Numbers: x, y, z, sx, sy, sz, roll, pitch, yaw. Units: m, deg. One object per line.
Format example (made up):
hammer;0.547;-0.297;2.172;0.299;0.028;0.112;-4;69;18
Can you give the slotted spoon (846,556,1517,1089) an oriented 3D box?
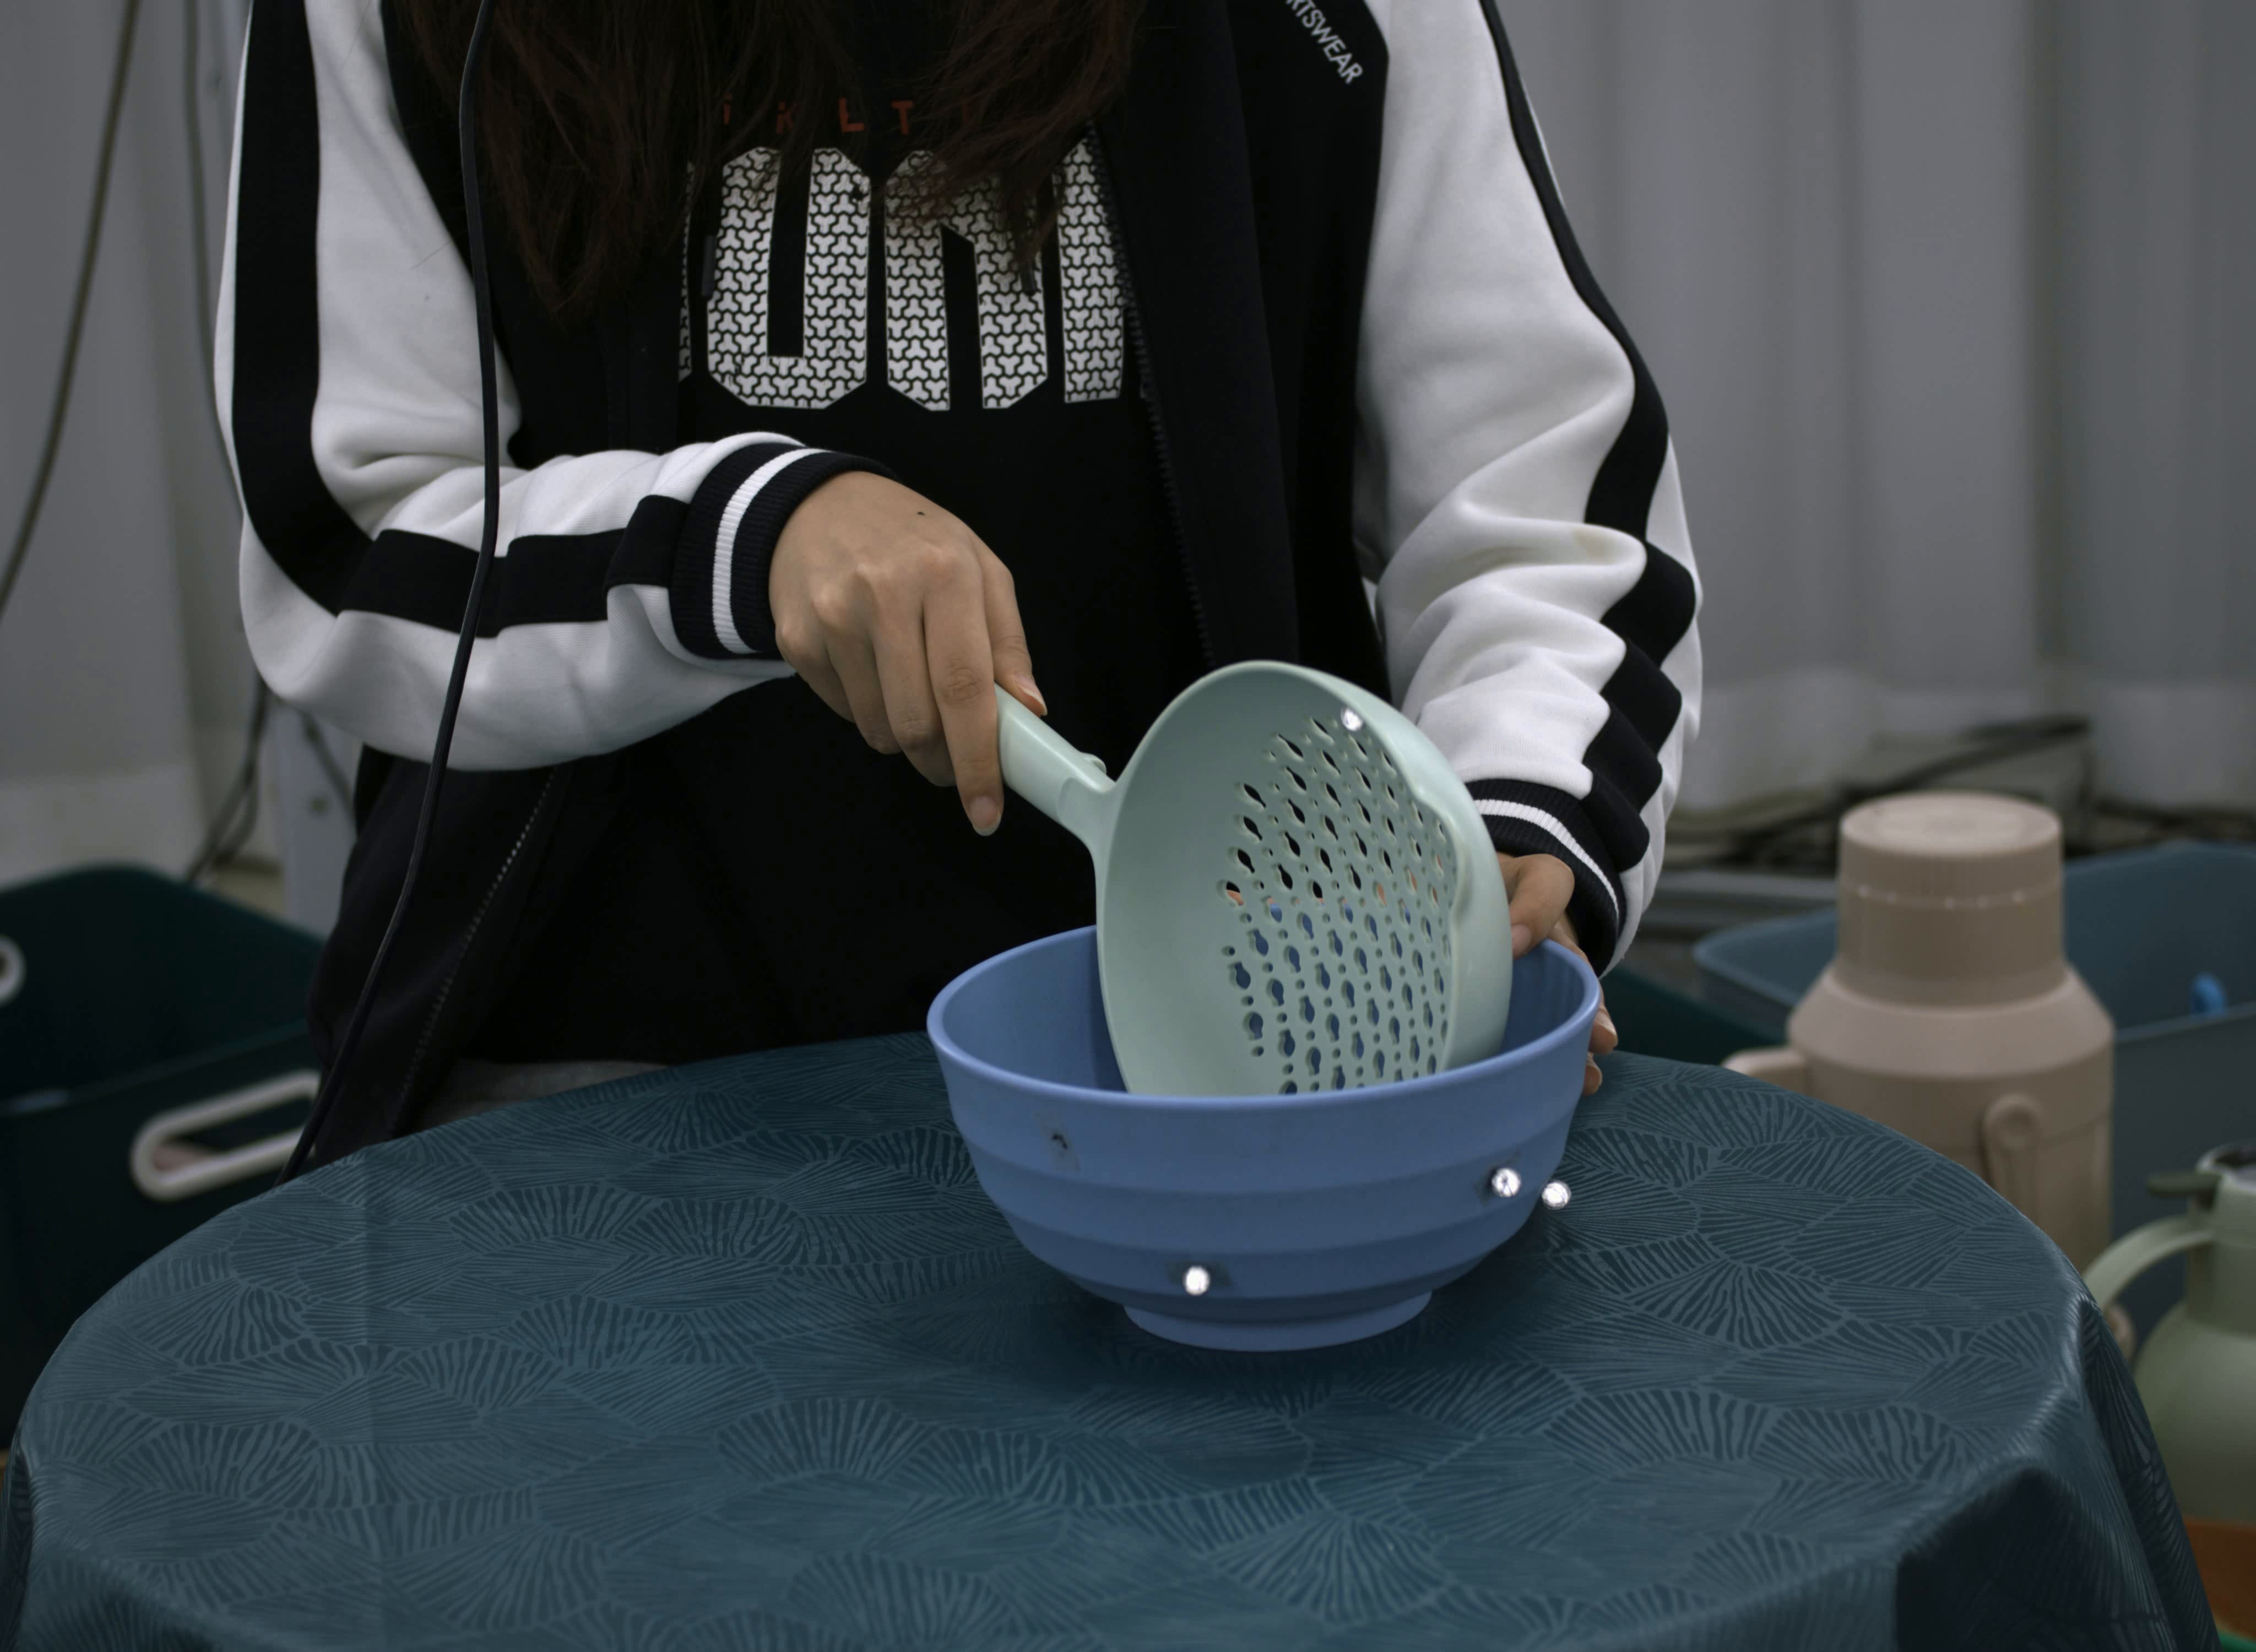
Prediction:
slotted spoon;-0.001;-0.007;1.675;0.075;0.168;0.362;-5;27;-43

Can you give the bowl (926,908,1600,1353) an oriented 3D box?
bowl;0.041;0.094;1.600;0.196;0.095;0.198;-3;15;1
